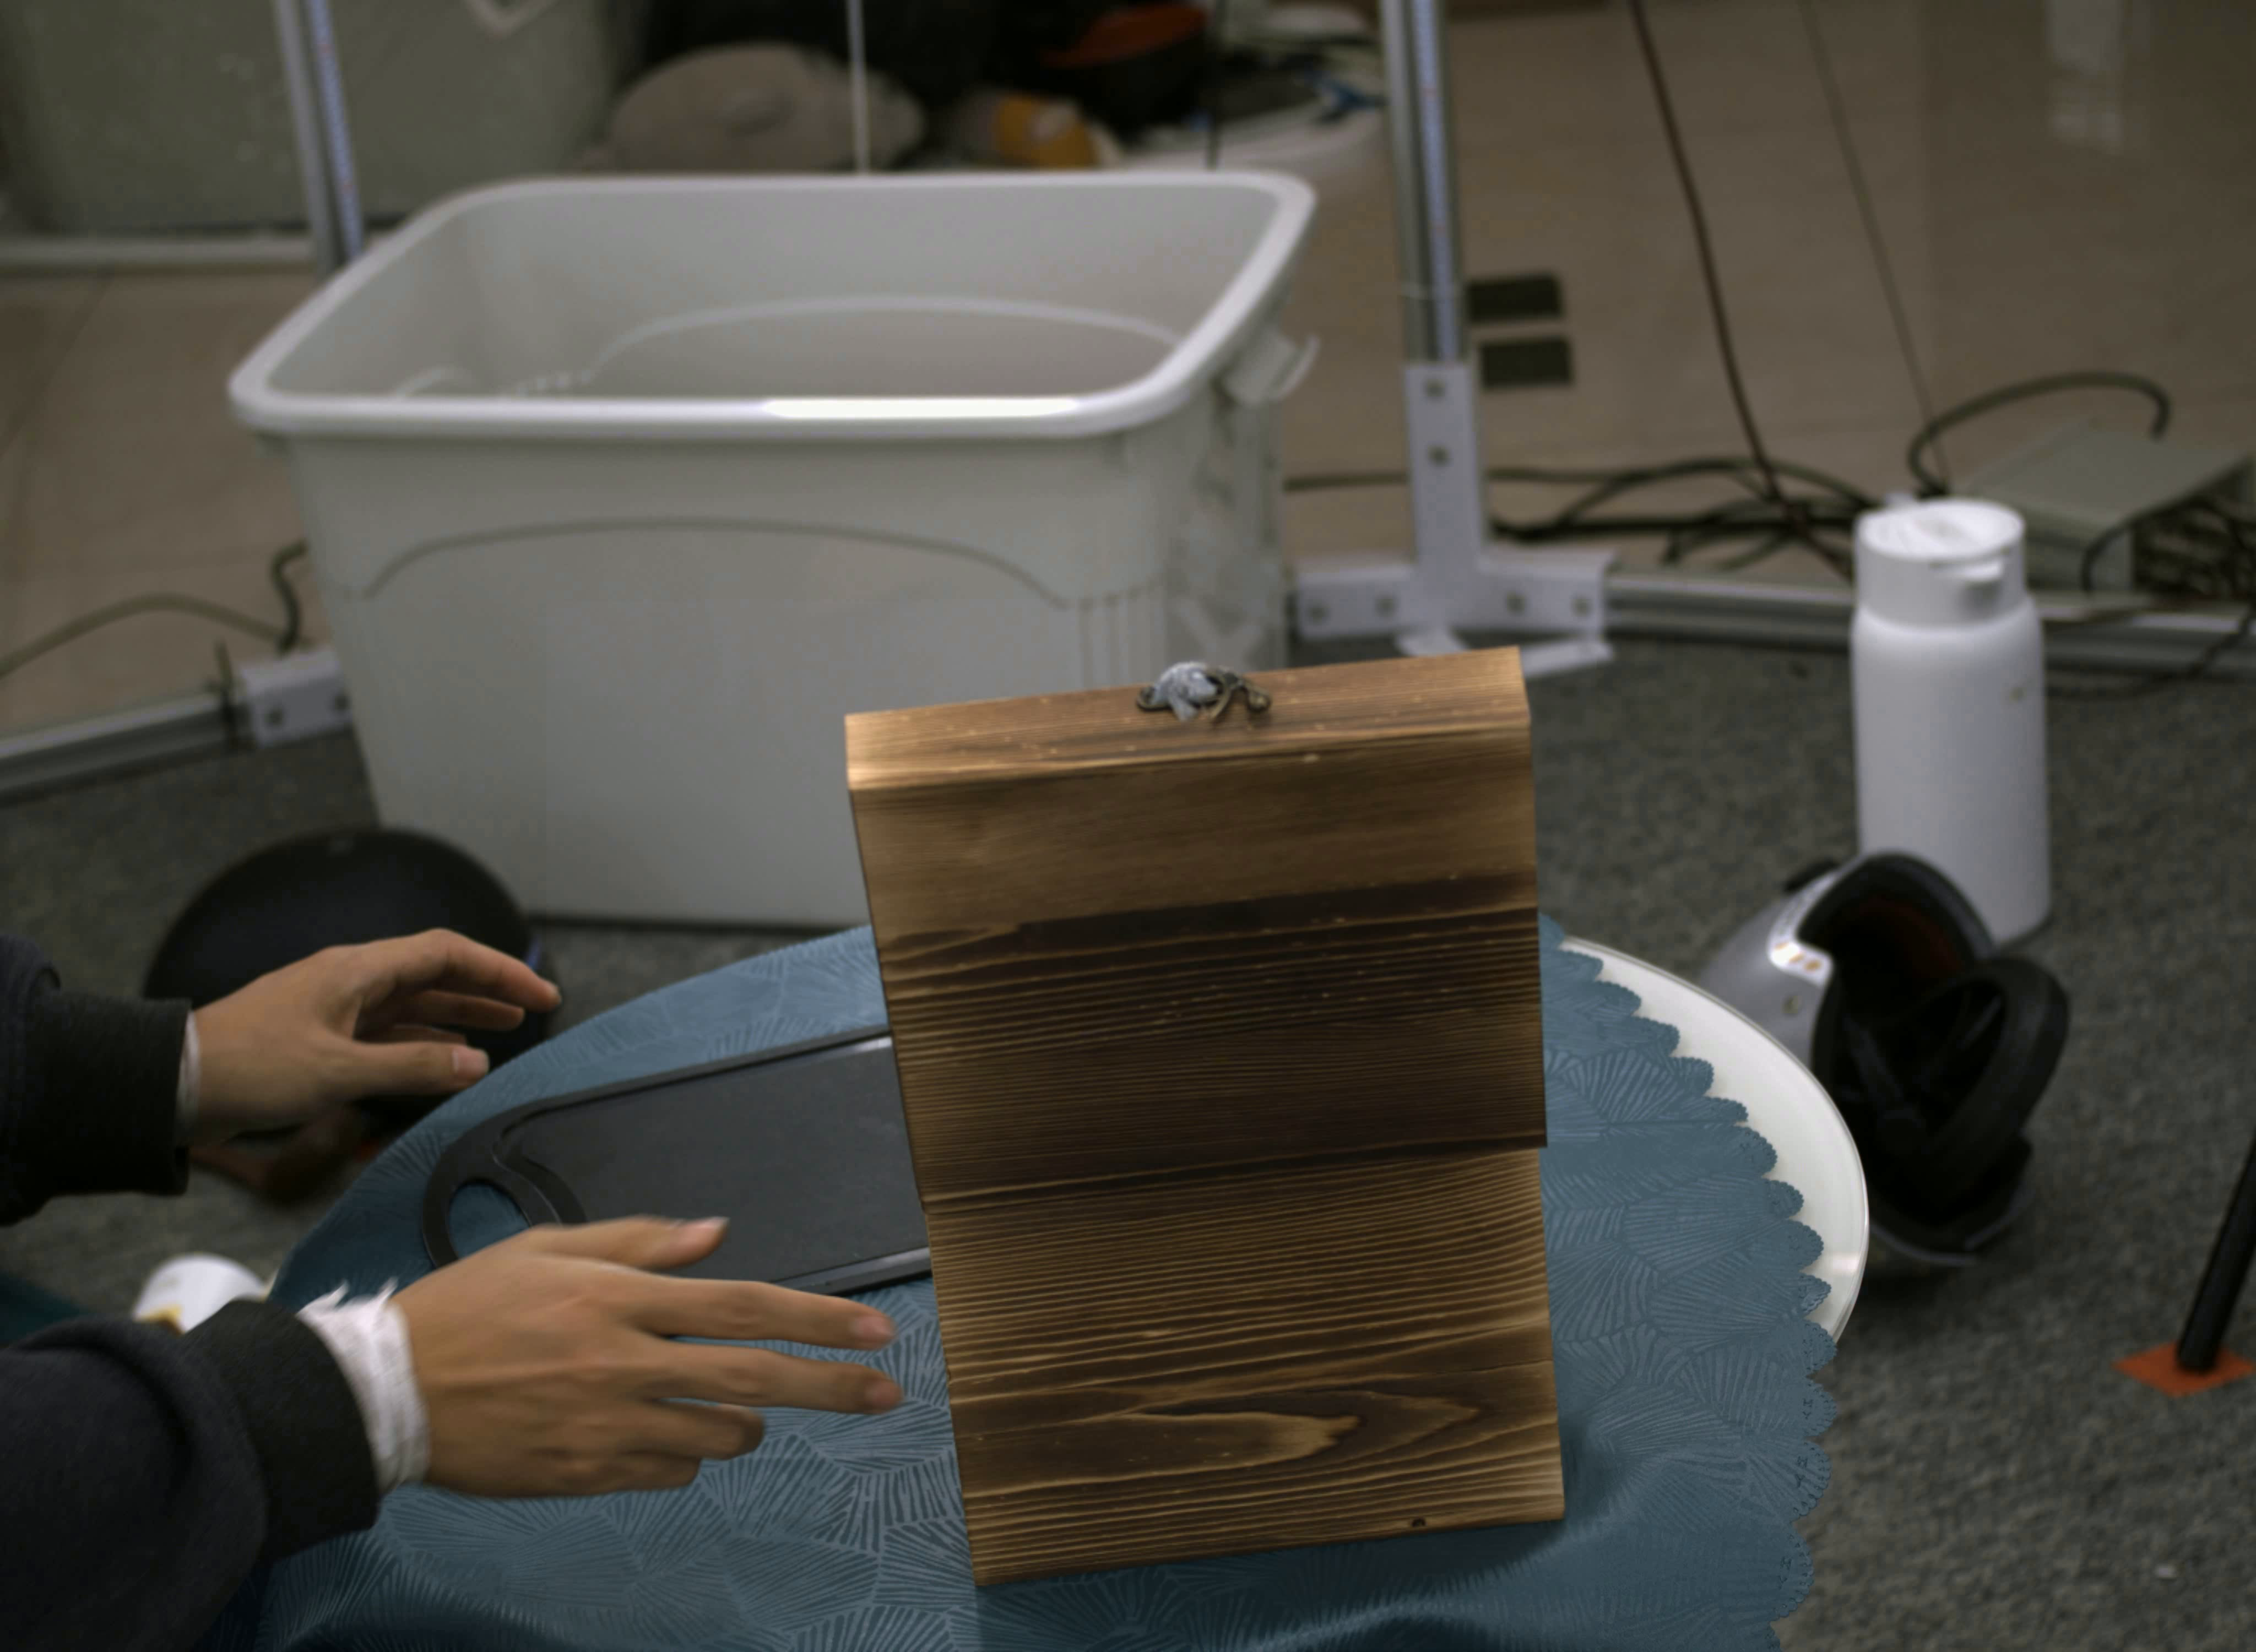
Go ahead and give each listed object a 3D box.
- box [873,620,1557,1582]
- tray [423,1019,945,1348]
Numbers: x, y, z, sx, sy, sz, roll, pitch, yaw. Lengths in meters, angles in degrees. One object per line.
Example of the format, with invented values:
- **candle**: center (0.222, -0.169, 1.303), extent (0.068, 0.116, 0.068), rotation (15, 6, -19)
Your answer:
- **box**: center (0.030, 0.061, 1.872), extent (0.208, 0.381, 0.317), rotation (-6, 26, -1)
- **tray**: center (-0.111, 0.128, 2.190), extent (0.324, 0.010, 0.208), rotation (-12, 25, -12)
